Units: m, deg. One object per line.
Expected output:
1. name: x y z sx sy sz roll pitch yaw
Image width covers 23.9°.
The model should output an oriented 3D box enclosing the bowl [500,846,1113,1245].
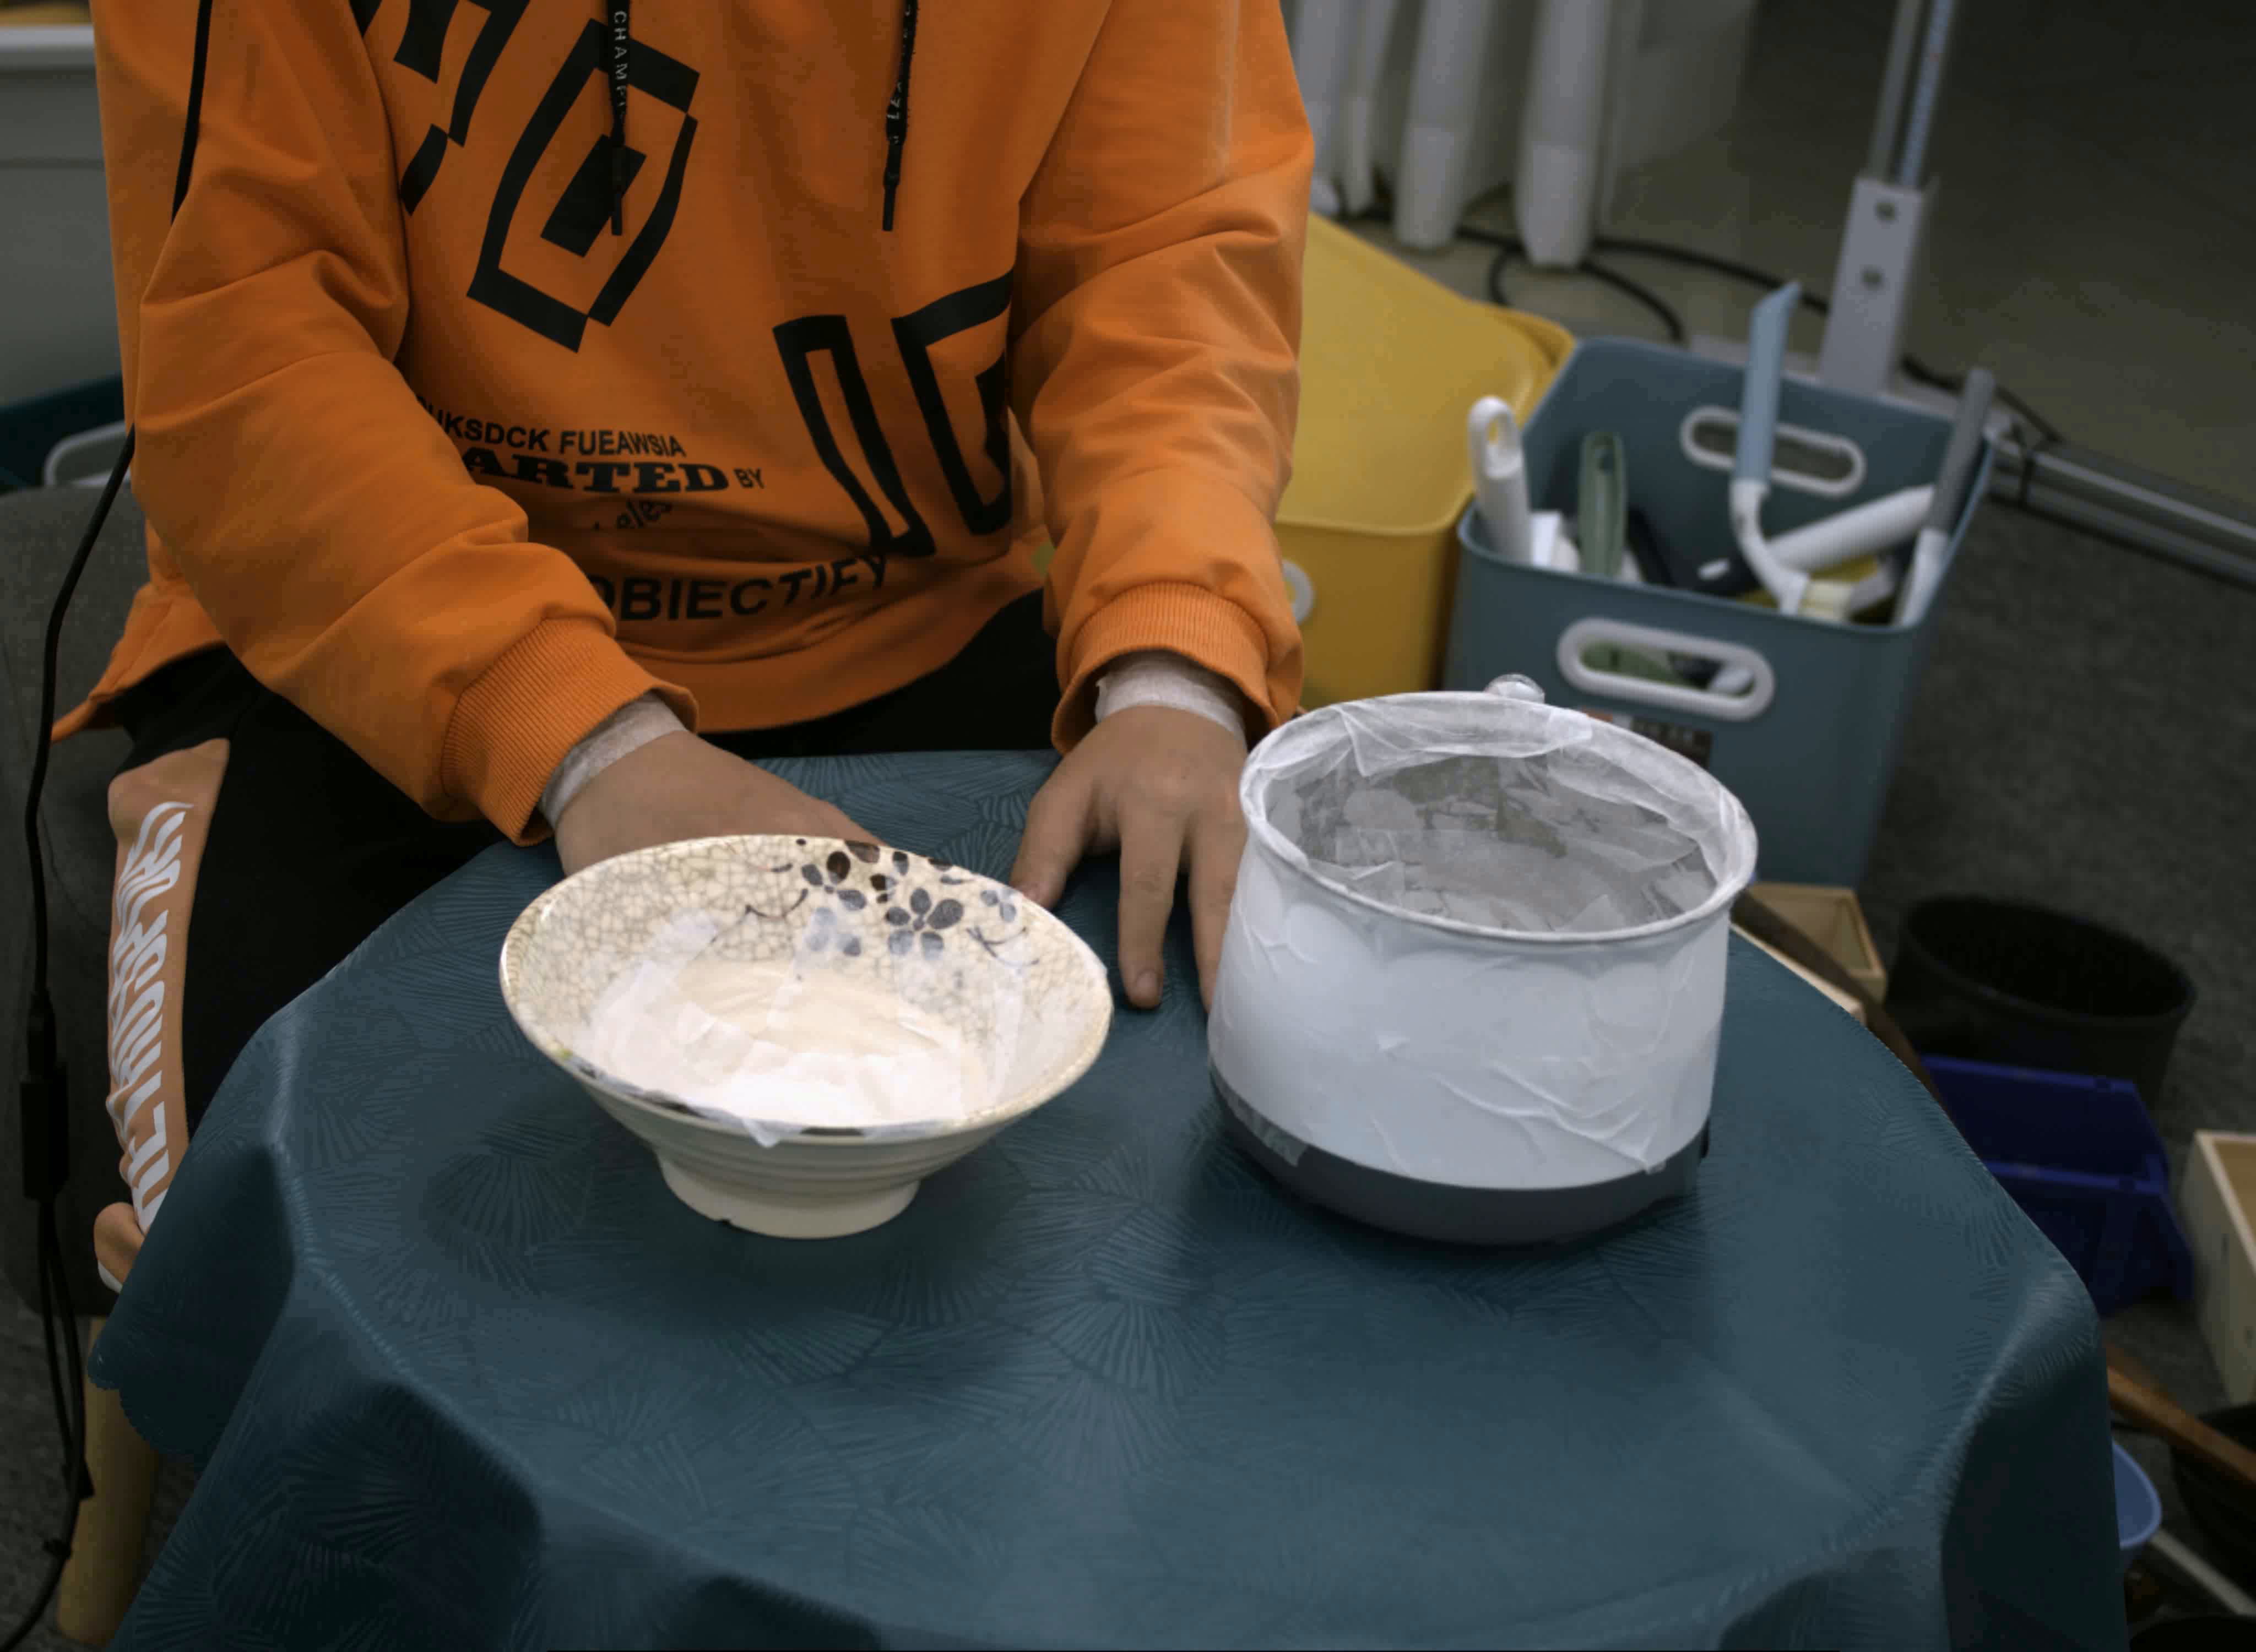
1. bowl: -0.109 0.085 1.772 0.203 0.078 0.205 4 25 -2

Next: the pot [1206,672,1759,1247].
1. pot: 0.121 0.038 1.846 0.178 0.136 0.235 8 27 2
